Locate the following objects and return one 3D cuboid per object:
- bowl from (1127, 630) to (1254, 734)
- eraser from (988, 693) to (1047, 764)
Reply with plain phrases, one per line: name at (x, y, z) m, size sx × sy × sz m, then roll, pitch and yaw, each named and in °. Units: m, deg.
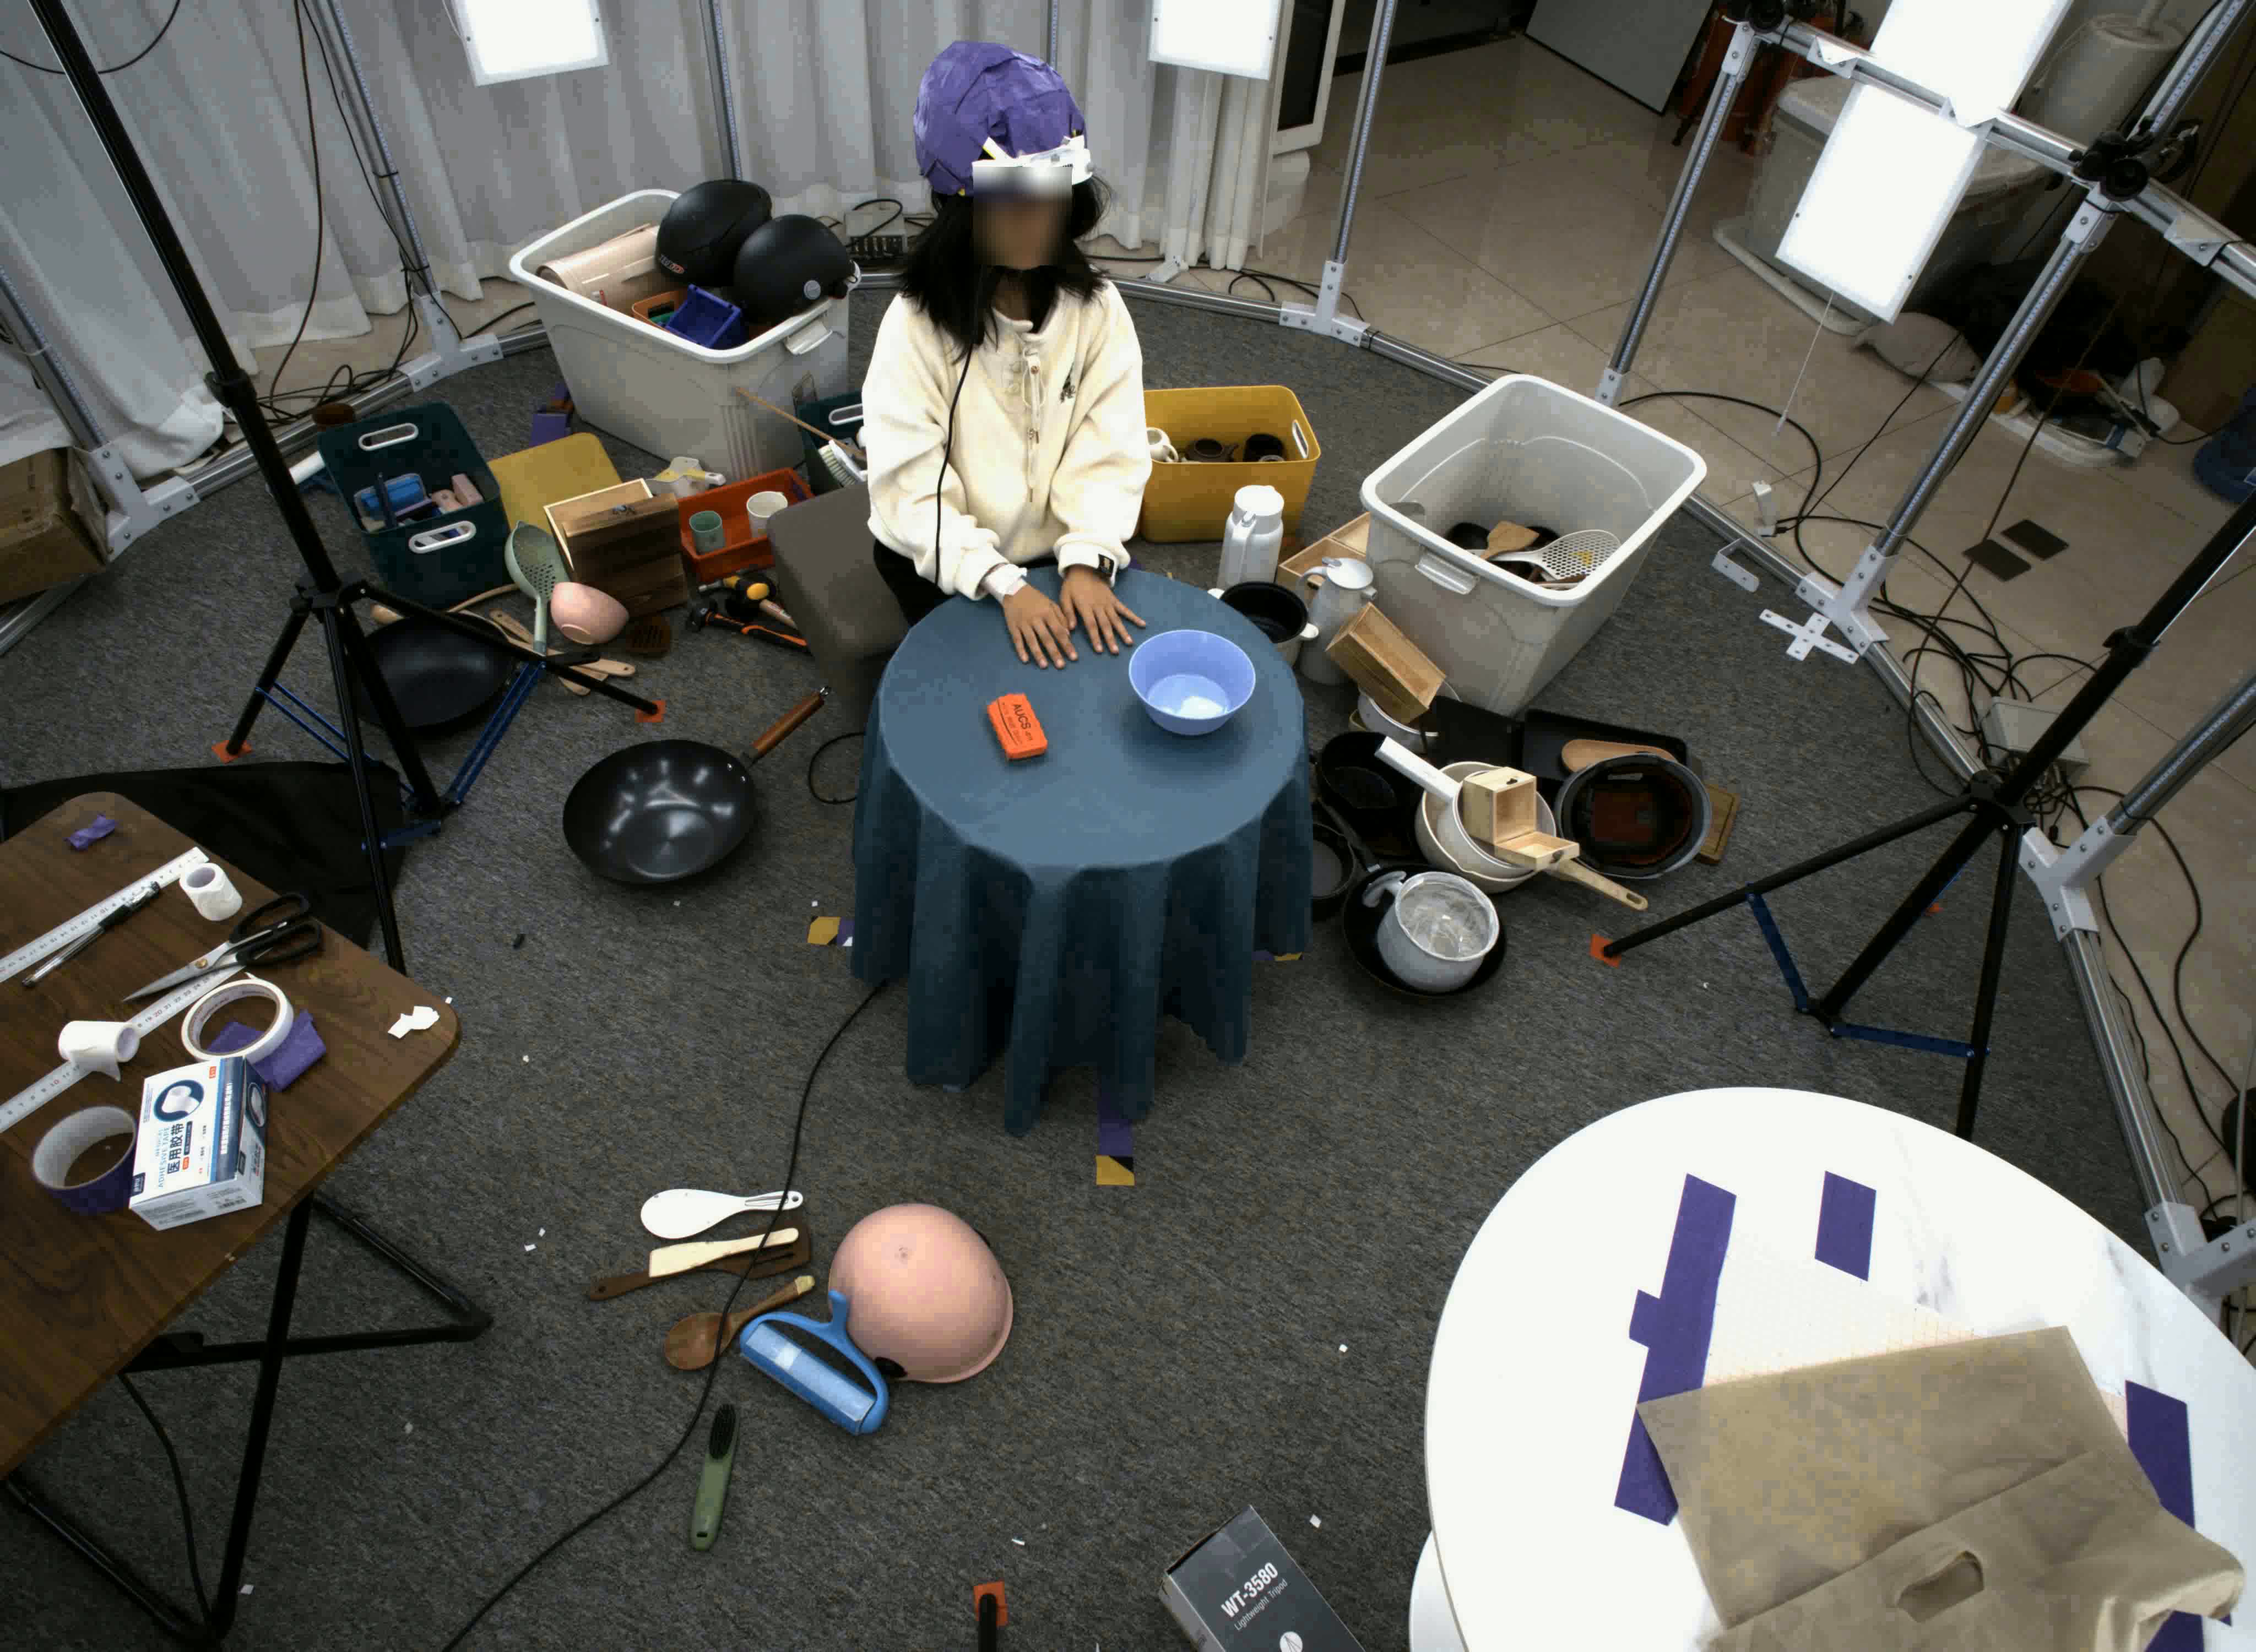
bowl at (0.085, -0.193, 1.797) m, size 0.176 × 0.068 × 0.180 m, roll 2°, pitch 49°, yaw -2°
eraser at (-0.153, -0.135, 1.762) m, size 0.059 × 0.022 × 0.110 m, roll -15°, pitch 52°, yaw -14°
